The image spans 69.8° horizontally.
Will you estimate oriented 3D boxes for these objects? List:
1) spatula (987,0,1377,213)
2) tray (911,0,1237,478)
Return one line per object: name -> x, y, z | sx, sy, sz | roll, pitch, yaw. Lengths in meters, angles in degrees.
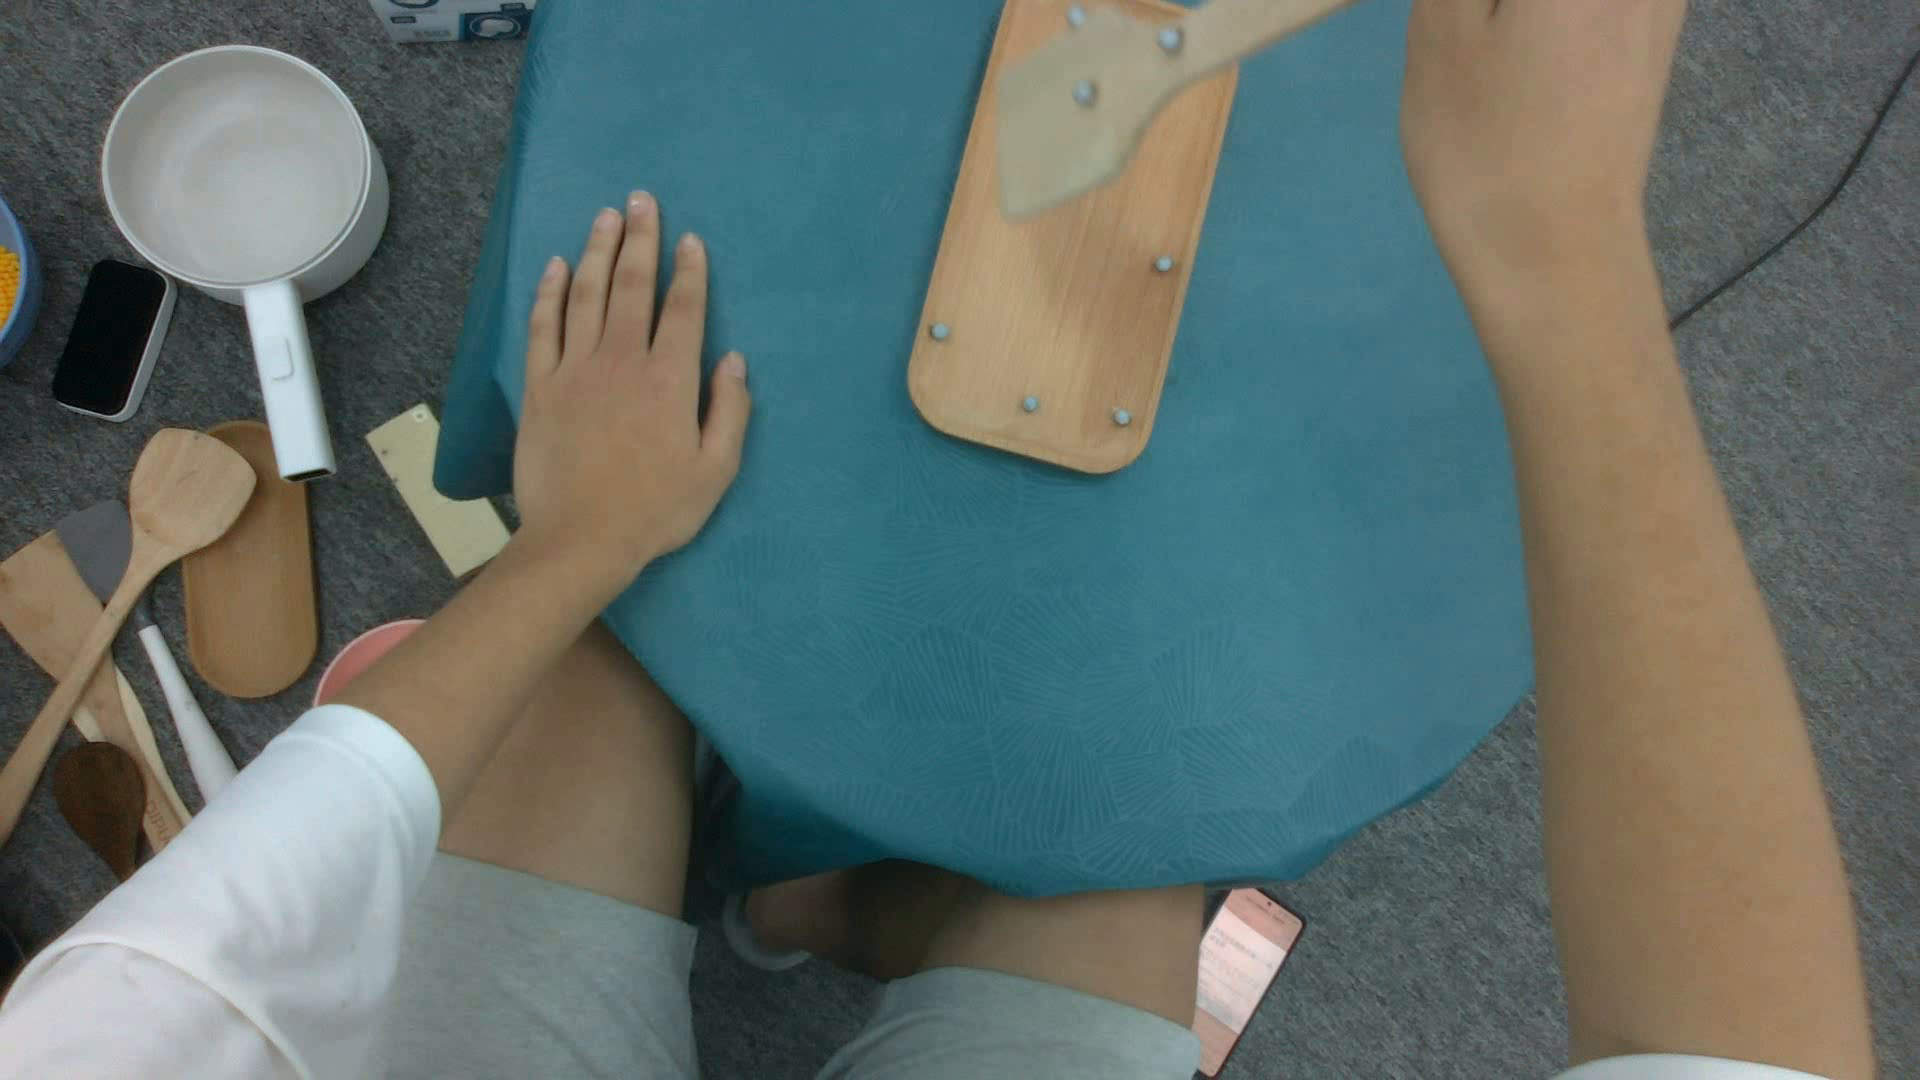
spatula -> 0.086, -0.180, 0.490 | 0.011, 0.292, 0.072 | -2, 91, -29
tray -> 0.060, -0.161, 0.719 | 0.130, 0.023, 0.251 | 16, 81, -8
